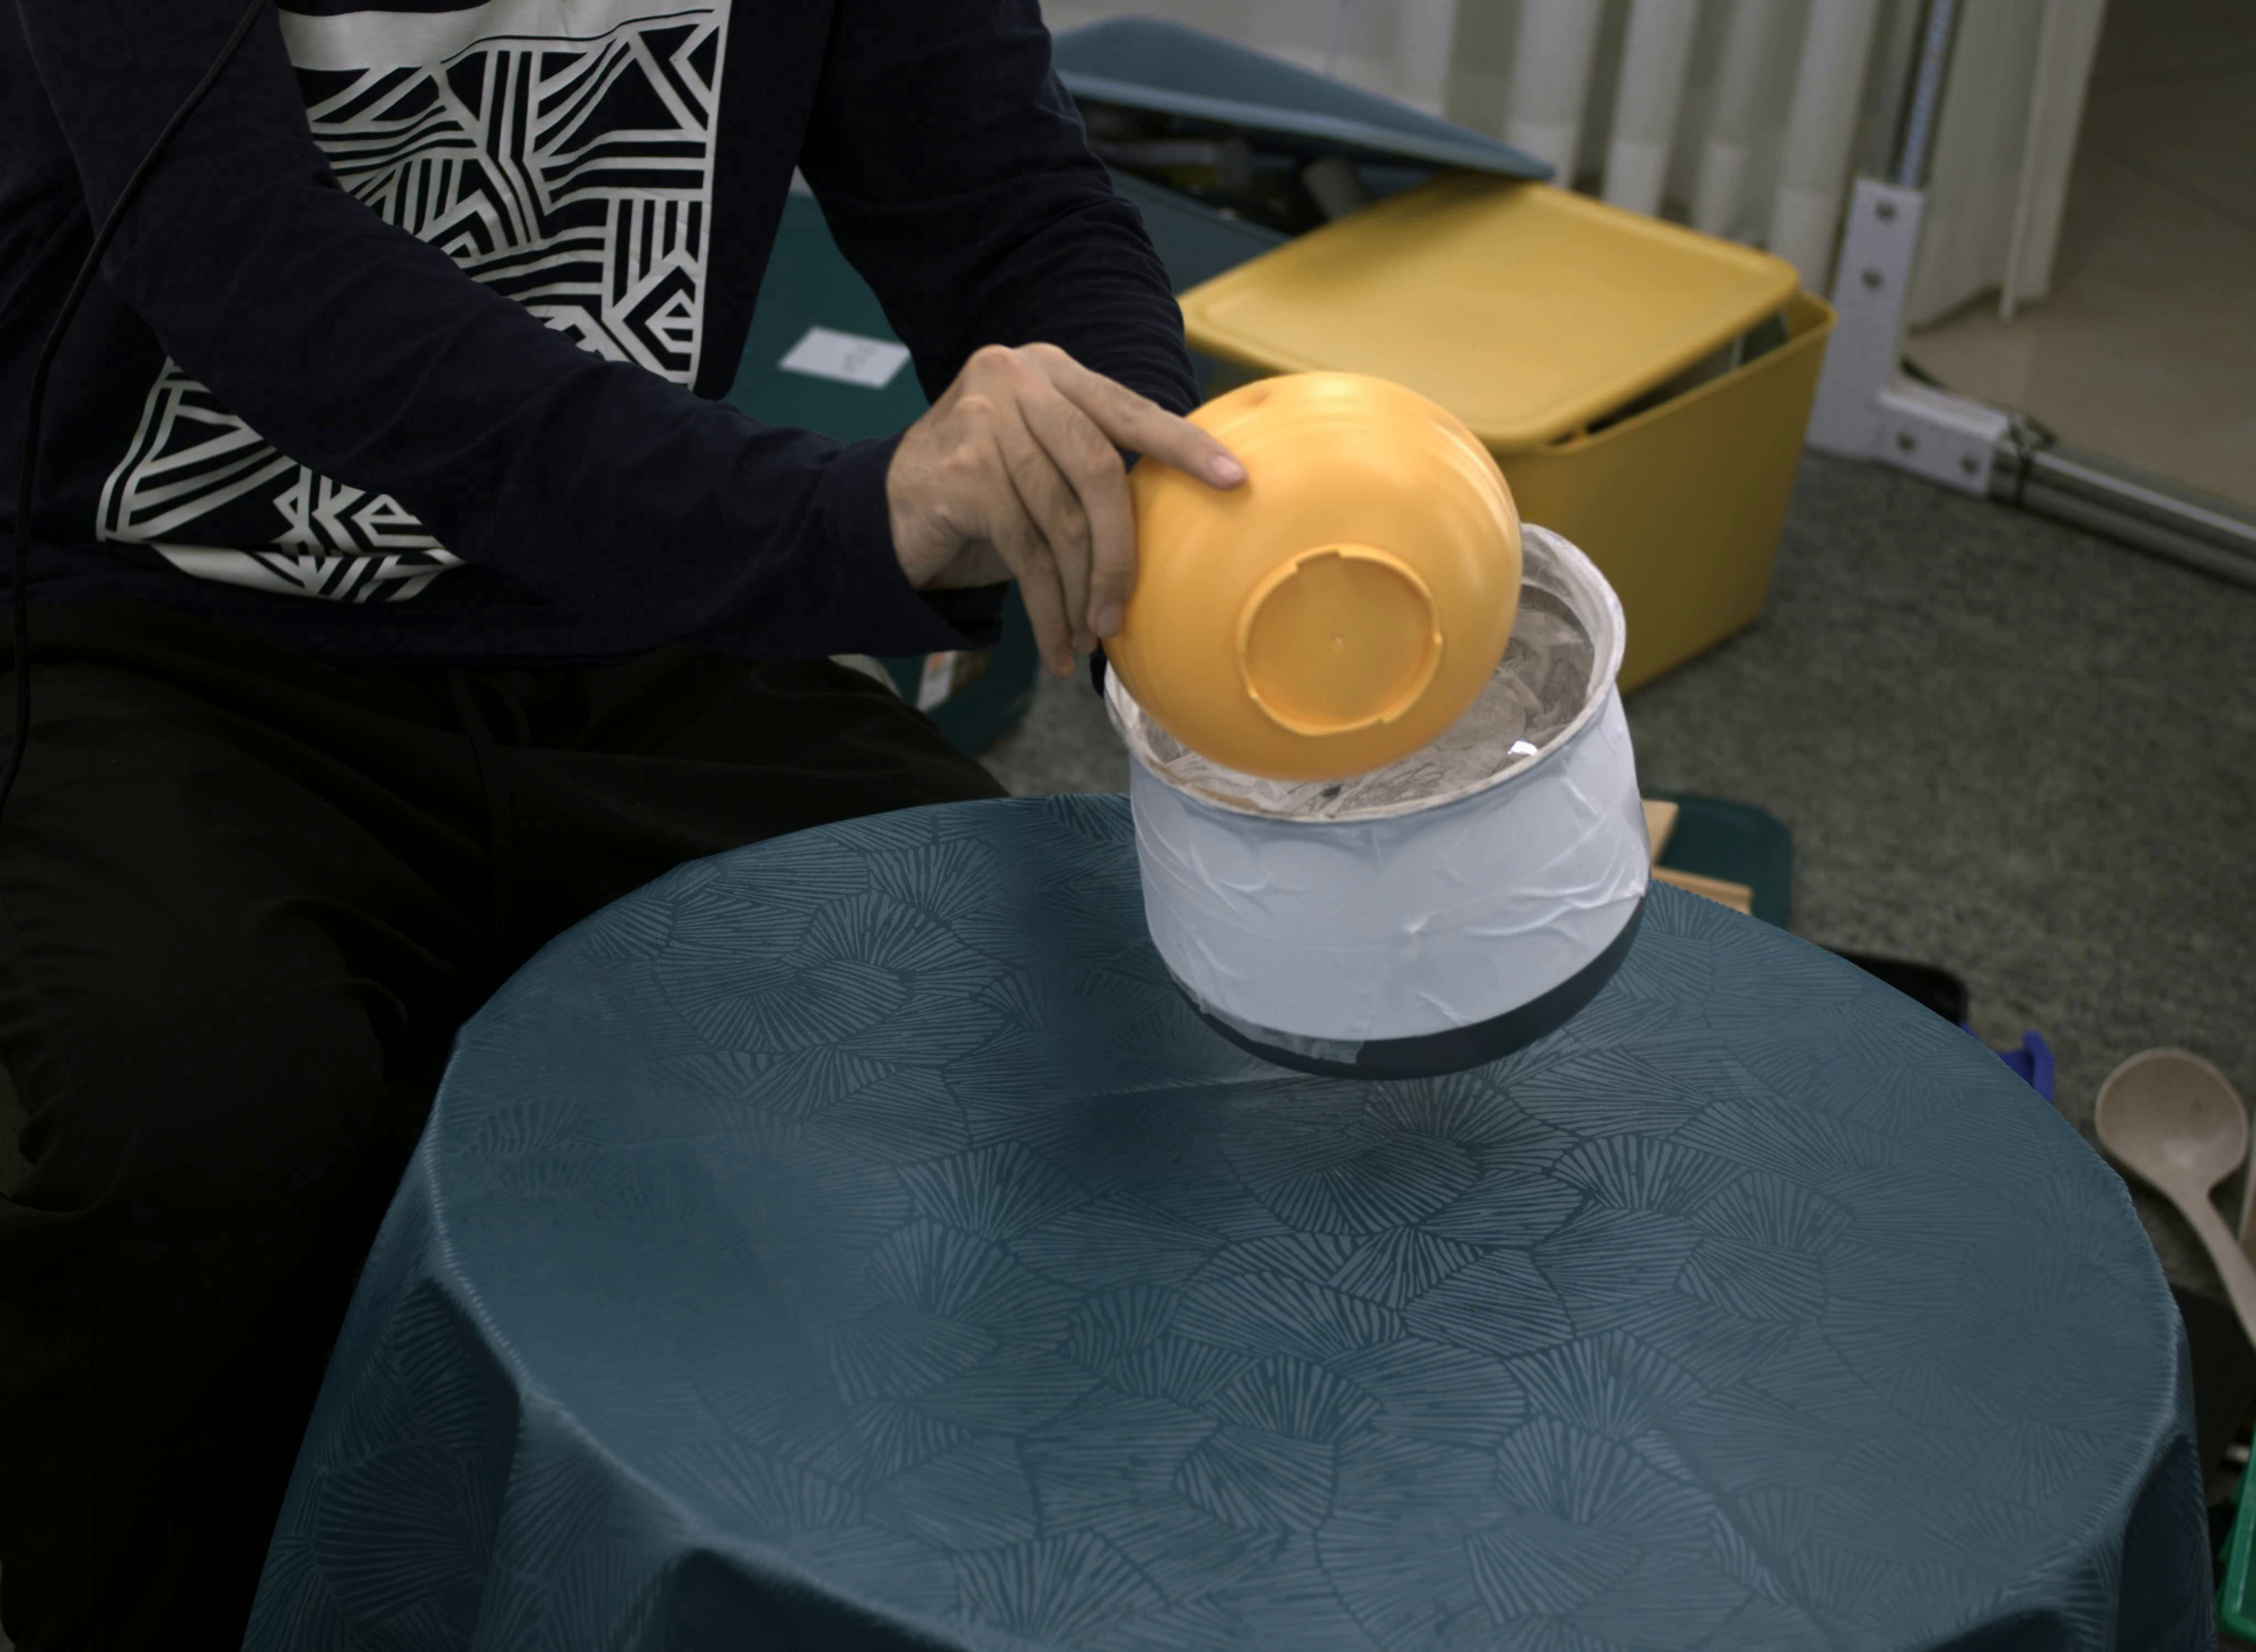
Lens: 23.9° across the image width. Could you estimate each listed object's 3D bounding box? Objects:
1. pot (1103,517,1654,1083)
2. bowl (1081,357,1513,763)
[{"bbox_3d":[0.078,-0.022,1.853,0.178,0.136,0.236,-21,37,-12],"label":"pot"},{"bbox_3d":[0.058,-0.075,1.732,0.144,0.145,0.060,4,30,-7],"label":"bowl"}]
